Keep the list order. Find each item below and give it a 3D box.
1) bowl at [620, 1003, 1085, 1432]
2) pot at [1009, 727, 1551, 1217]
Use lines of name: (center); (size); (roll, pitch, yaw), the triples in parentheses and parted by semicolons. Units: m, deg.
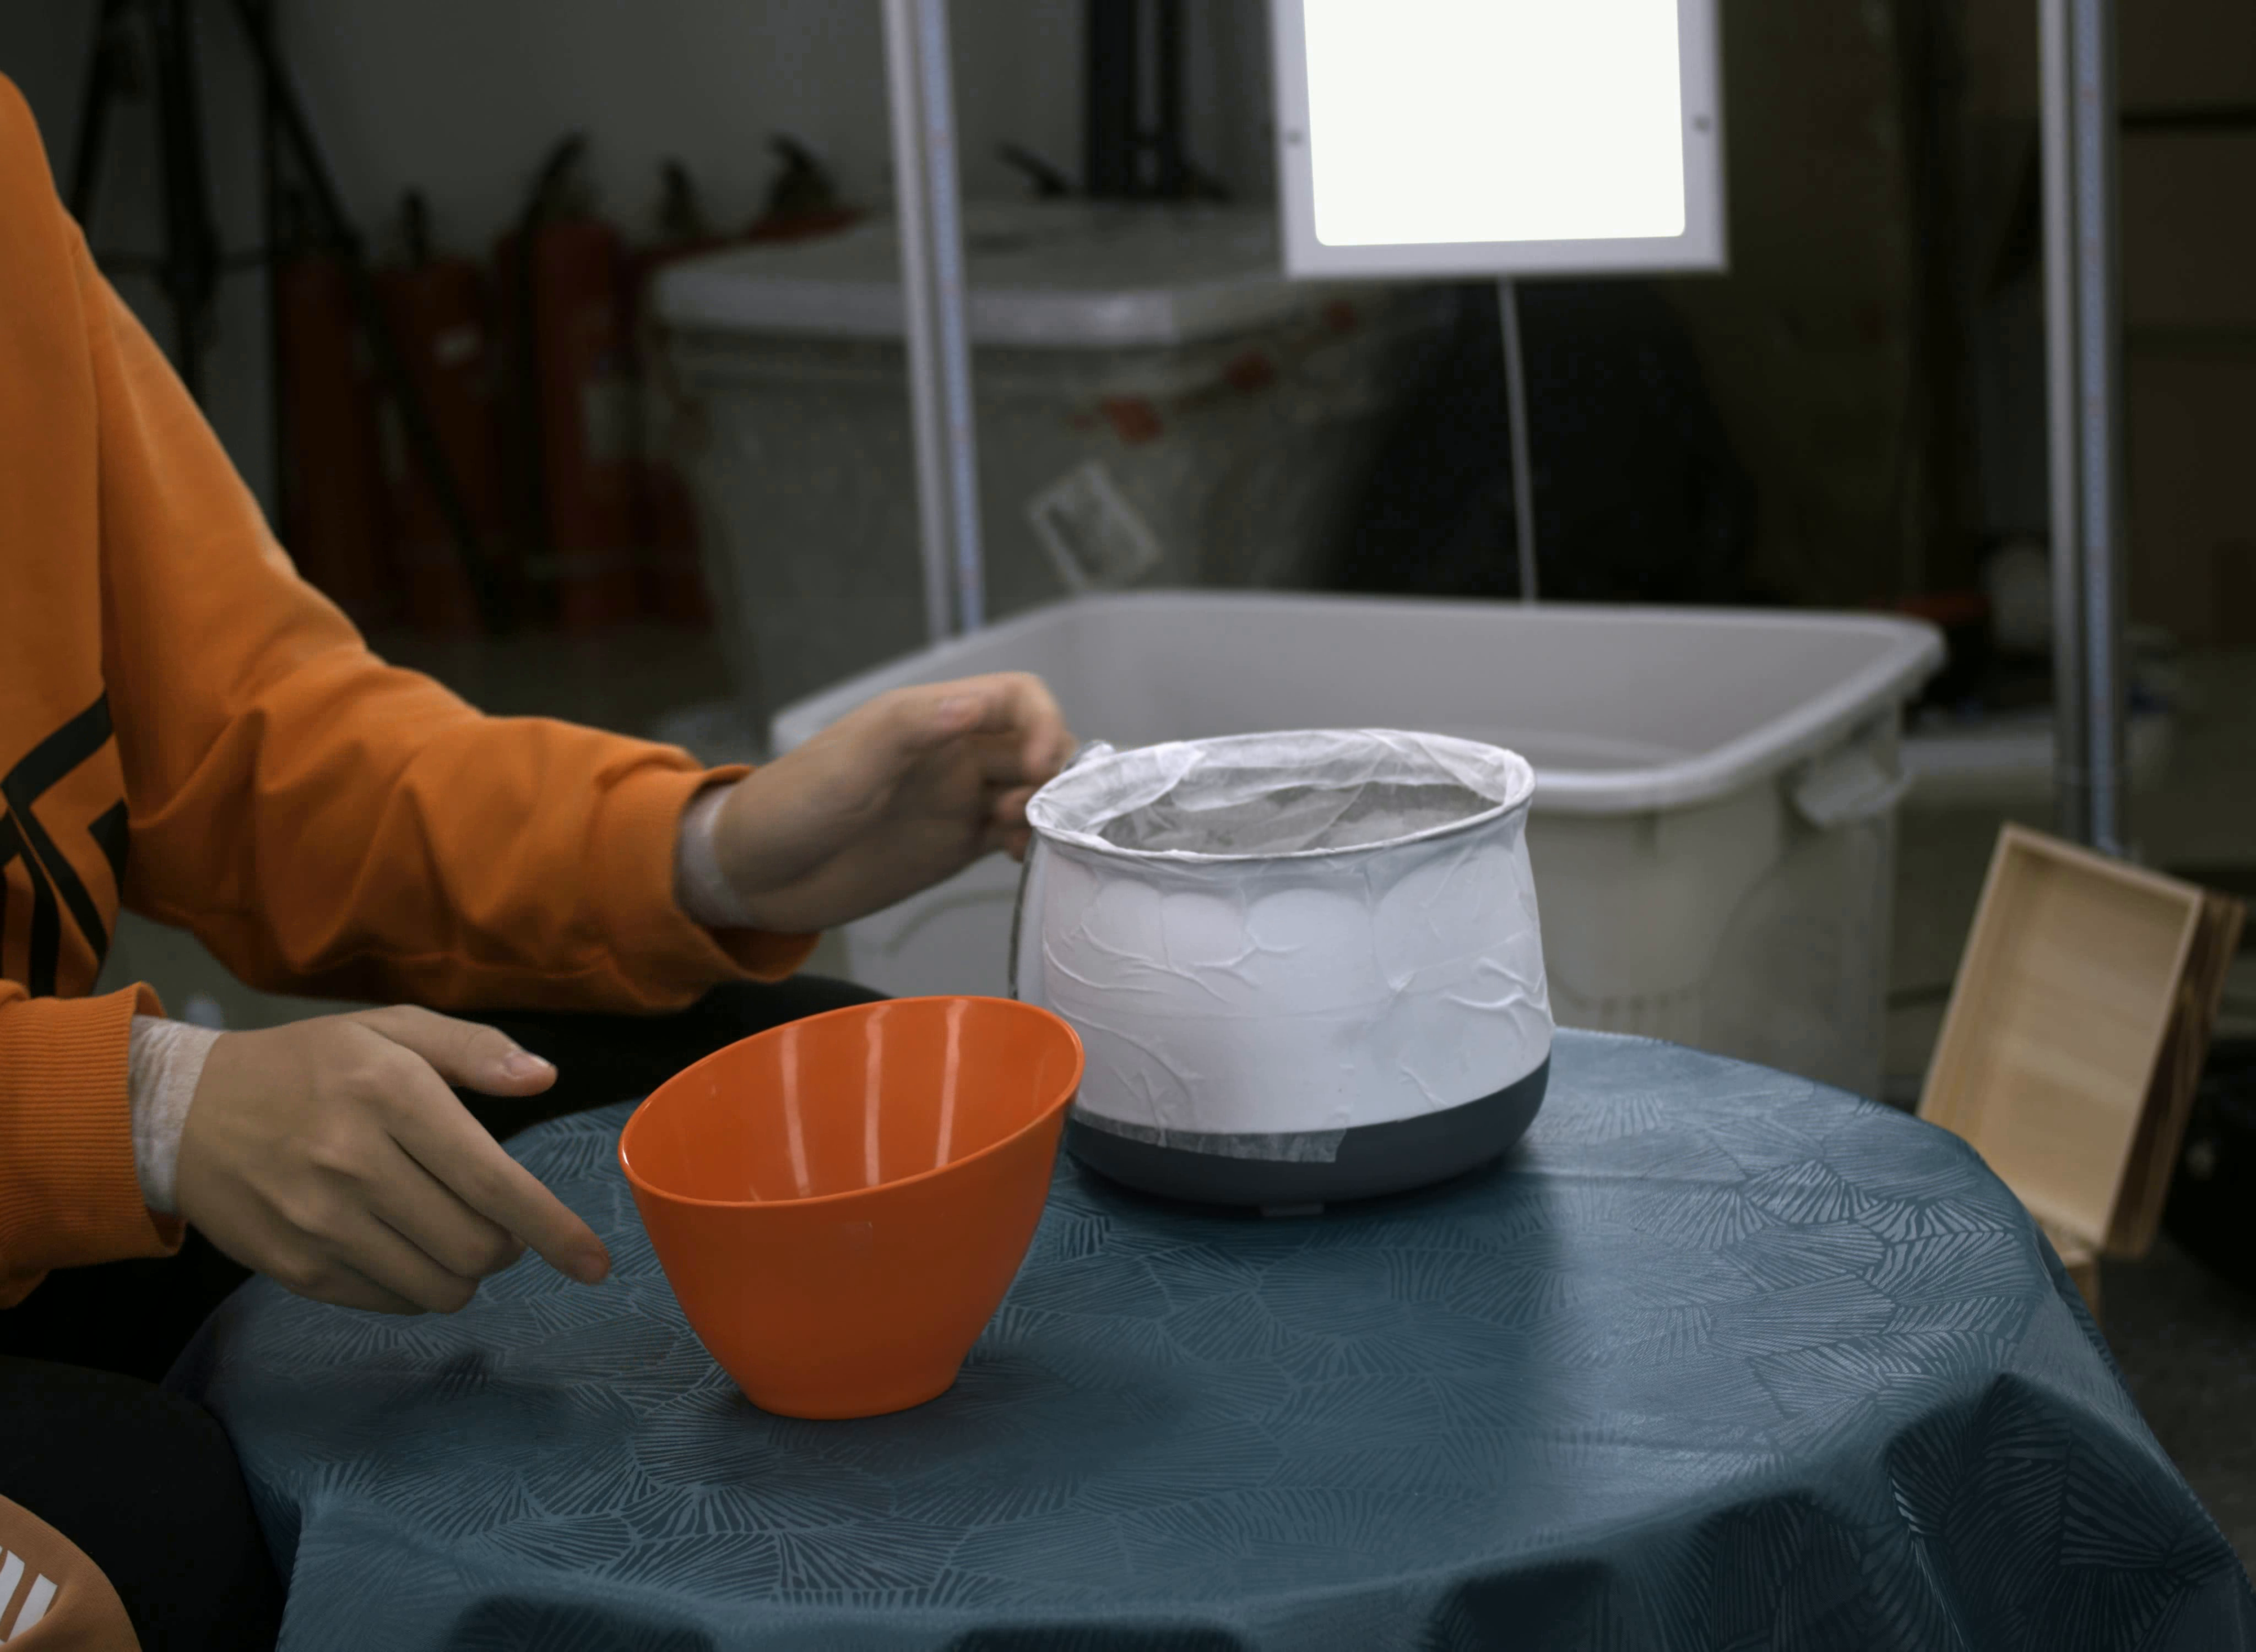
bowl: (-0.082, 0.126, 1.725); (0.147, 0.105, 0.148); (-6, 15, 0)
pot: (0.039, 0.045, 1.926); (0.174, 0.137, 0.238); (-15, 18, -38)
